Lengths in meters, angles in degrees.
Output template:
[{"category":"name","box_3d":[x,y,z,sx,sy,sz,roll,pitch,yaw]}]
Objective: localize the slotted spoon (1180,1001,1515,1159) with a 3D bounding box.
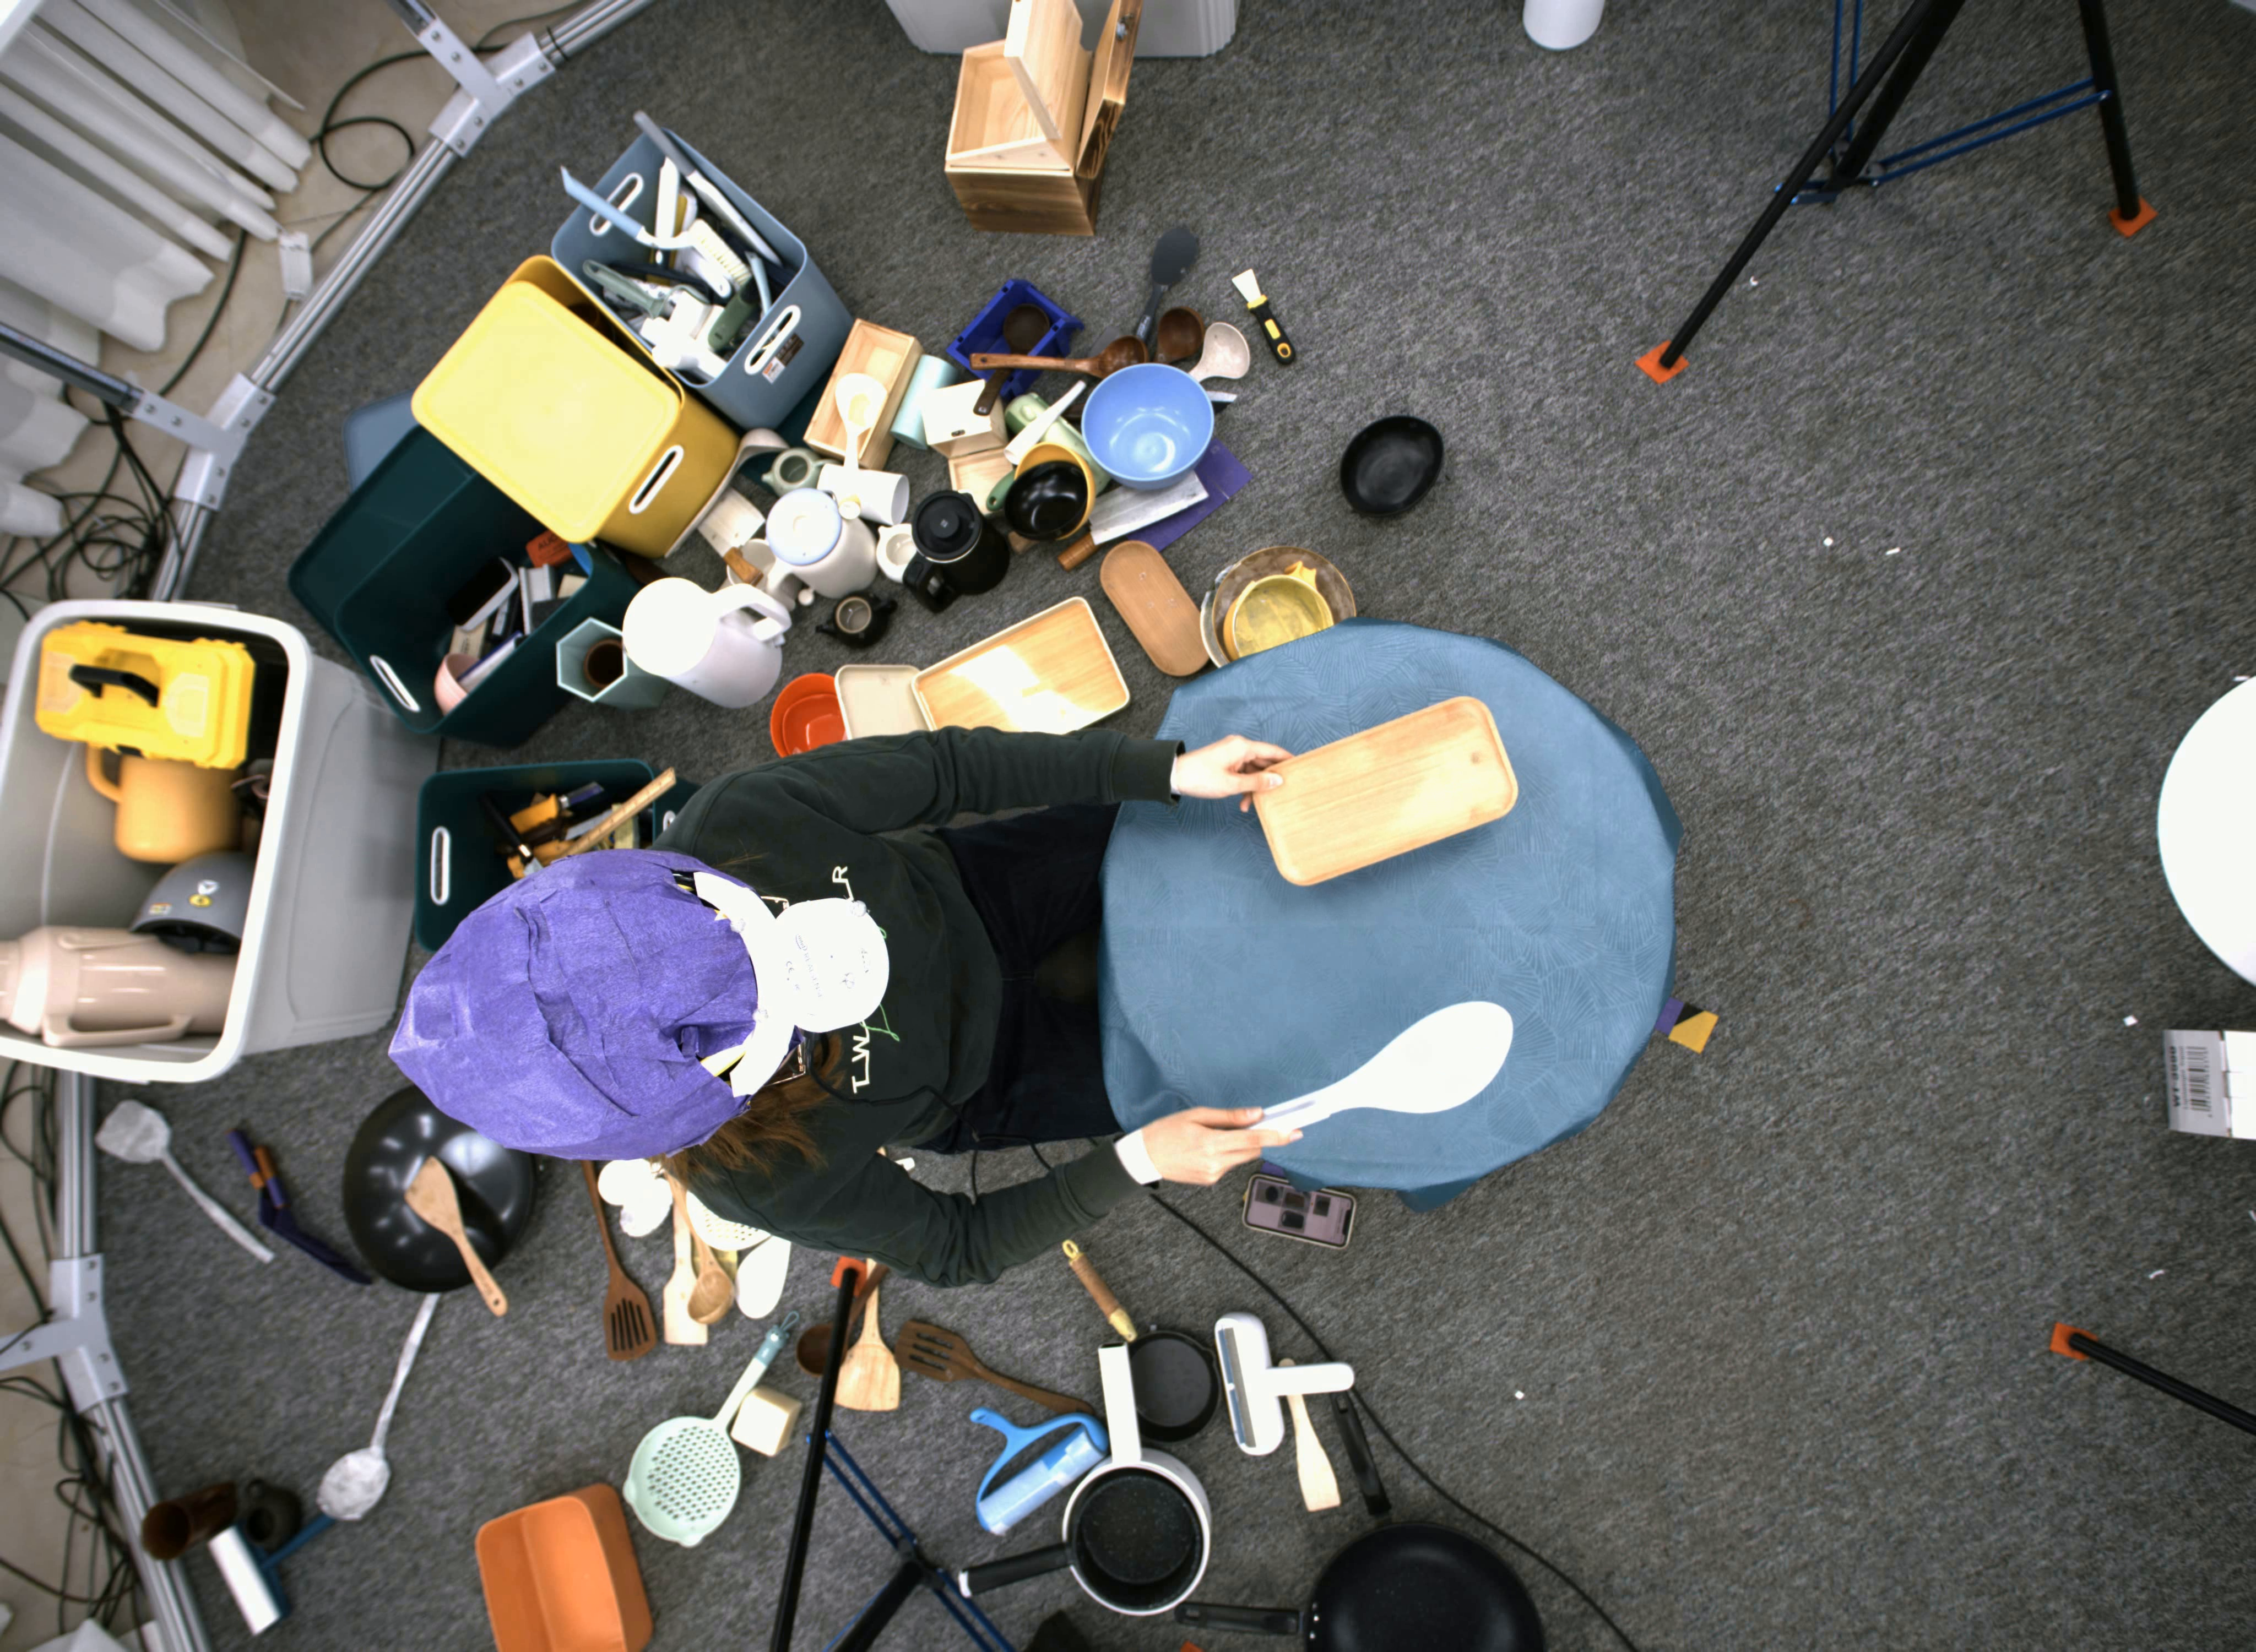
[{"category":"slotted spoon","box_3d":[0.195,0.245,1.271,0.354,0.132,0.046,-21,111,27]}]

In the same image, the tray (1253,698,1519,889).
[{"category":"tray","box_3d":[0.256,-0.033,1.379,0.252,0.023,0.130,-20,88,12]}]
